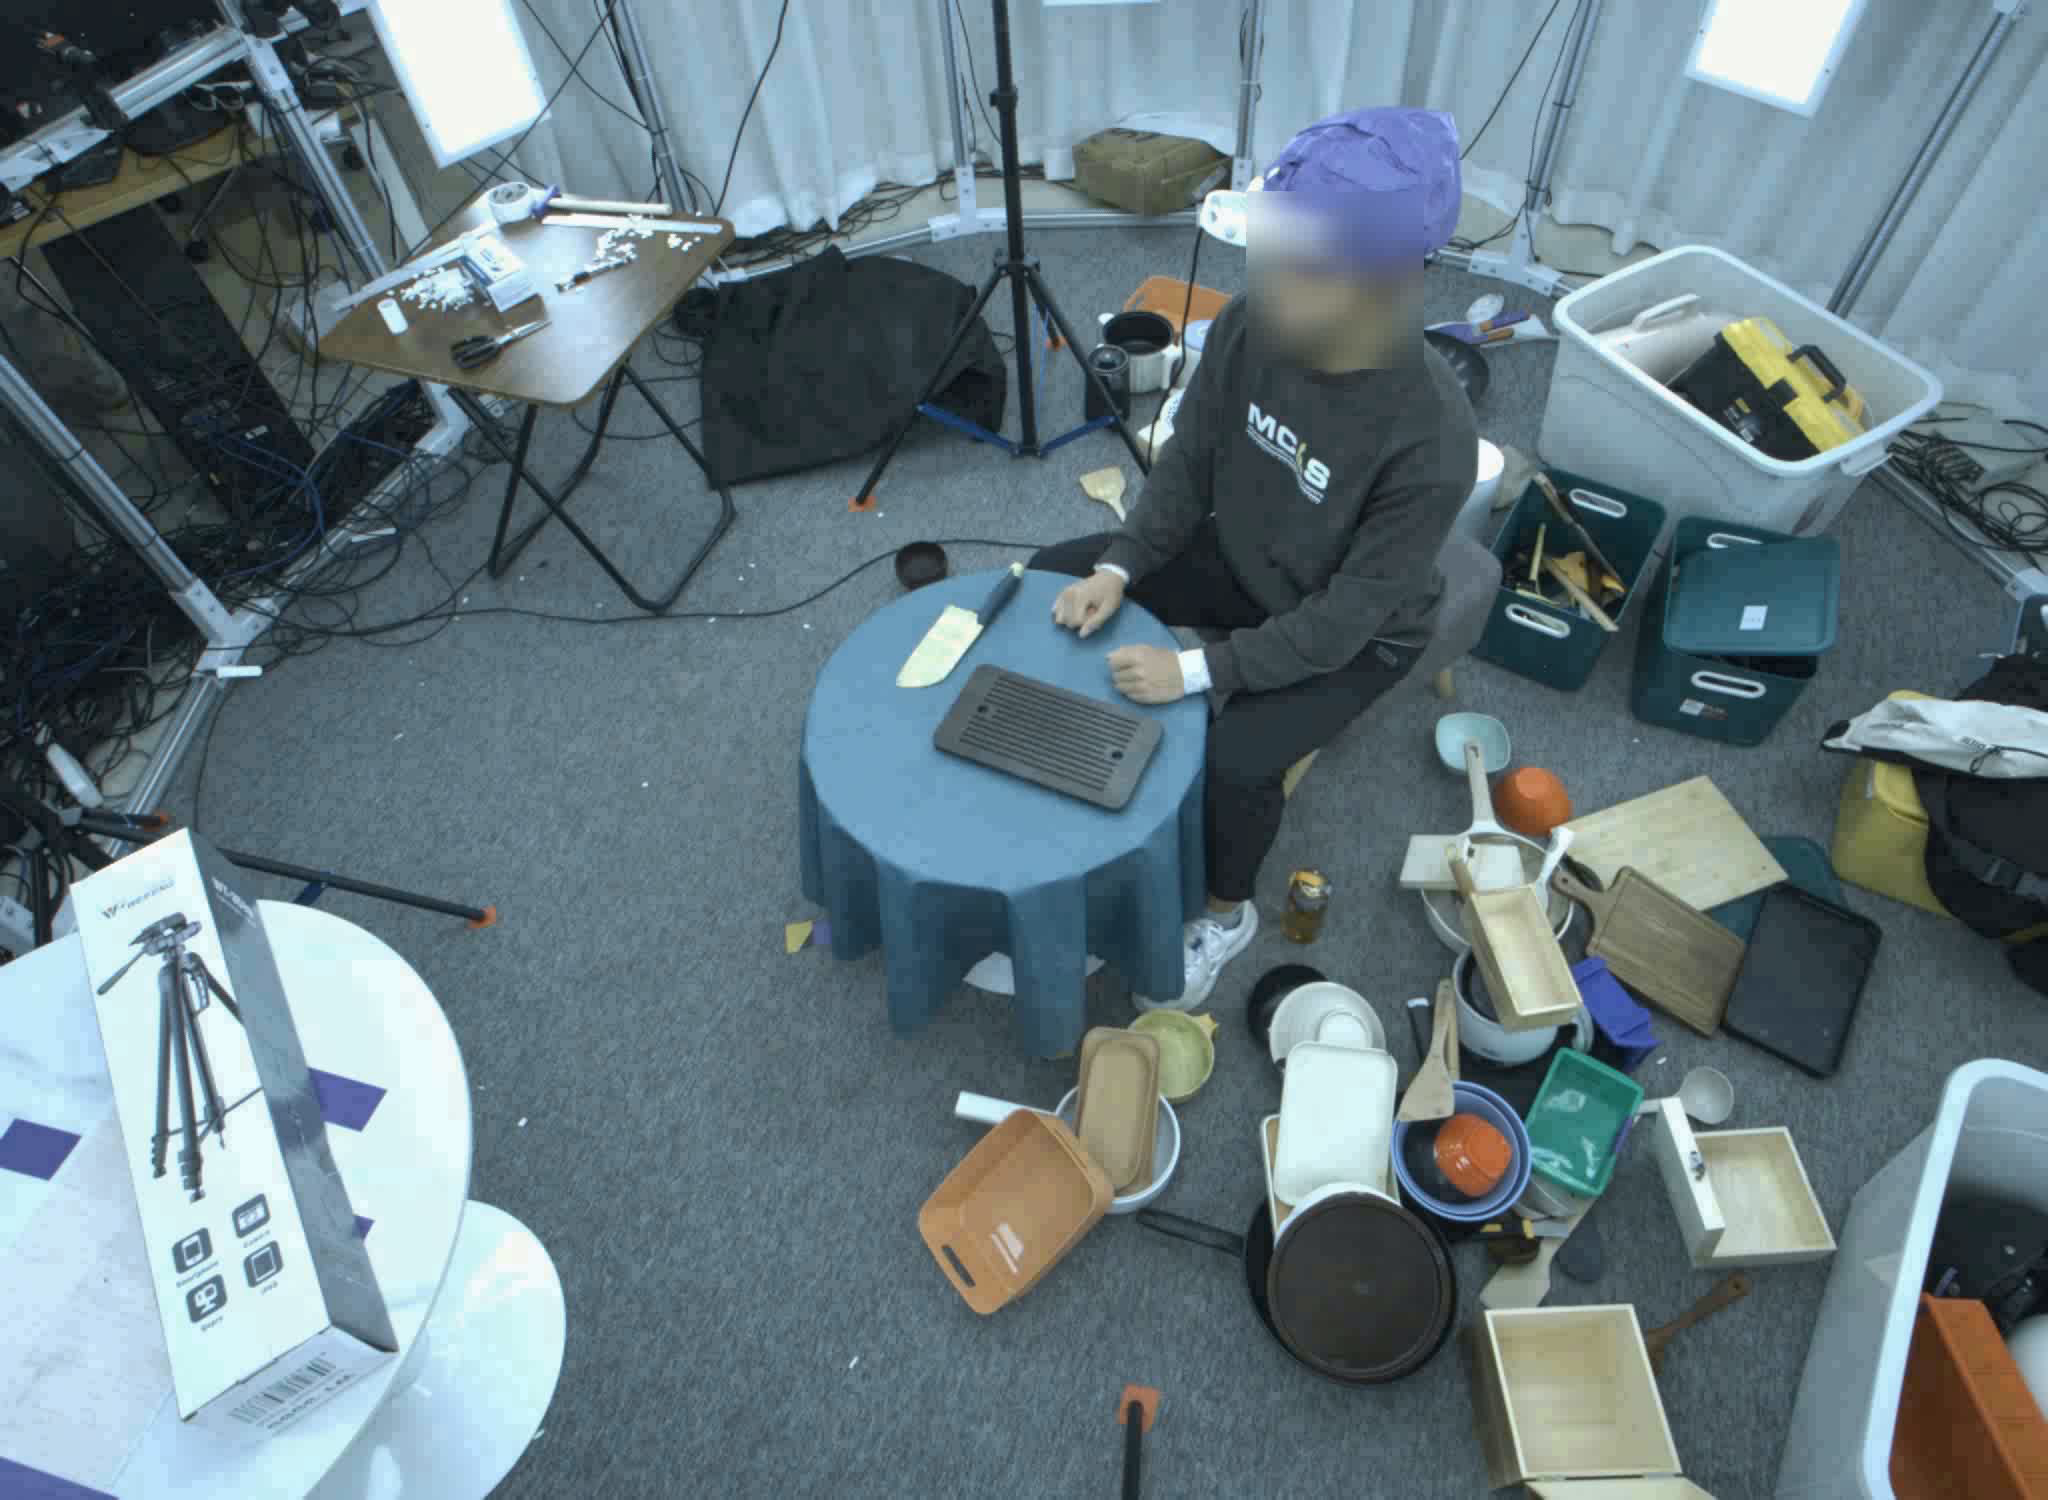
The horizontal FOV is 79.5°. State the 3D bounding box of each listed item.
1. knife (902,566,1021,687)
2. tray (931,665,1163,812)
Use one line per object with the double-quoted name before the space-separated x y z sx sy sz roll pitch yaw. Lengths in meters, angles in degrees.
"knife" -0.098 -0.197 1.930 0.080 0.027 0.290 28 61 18
"tray" 0.034 -0.019 1.796 0.302 0.019 0.170 20 57 15
